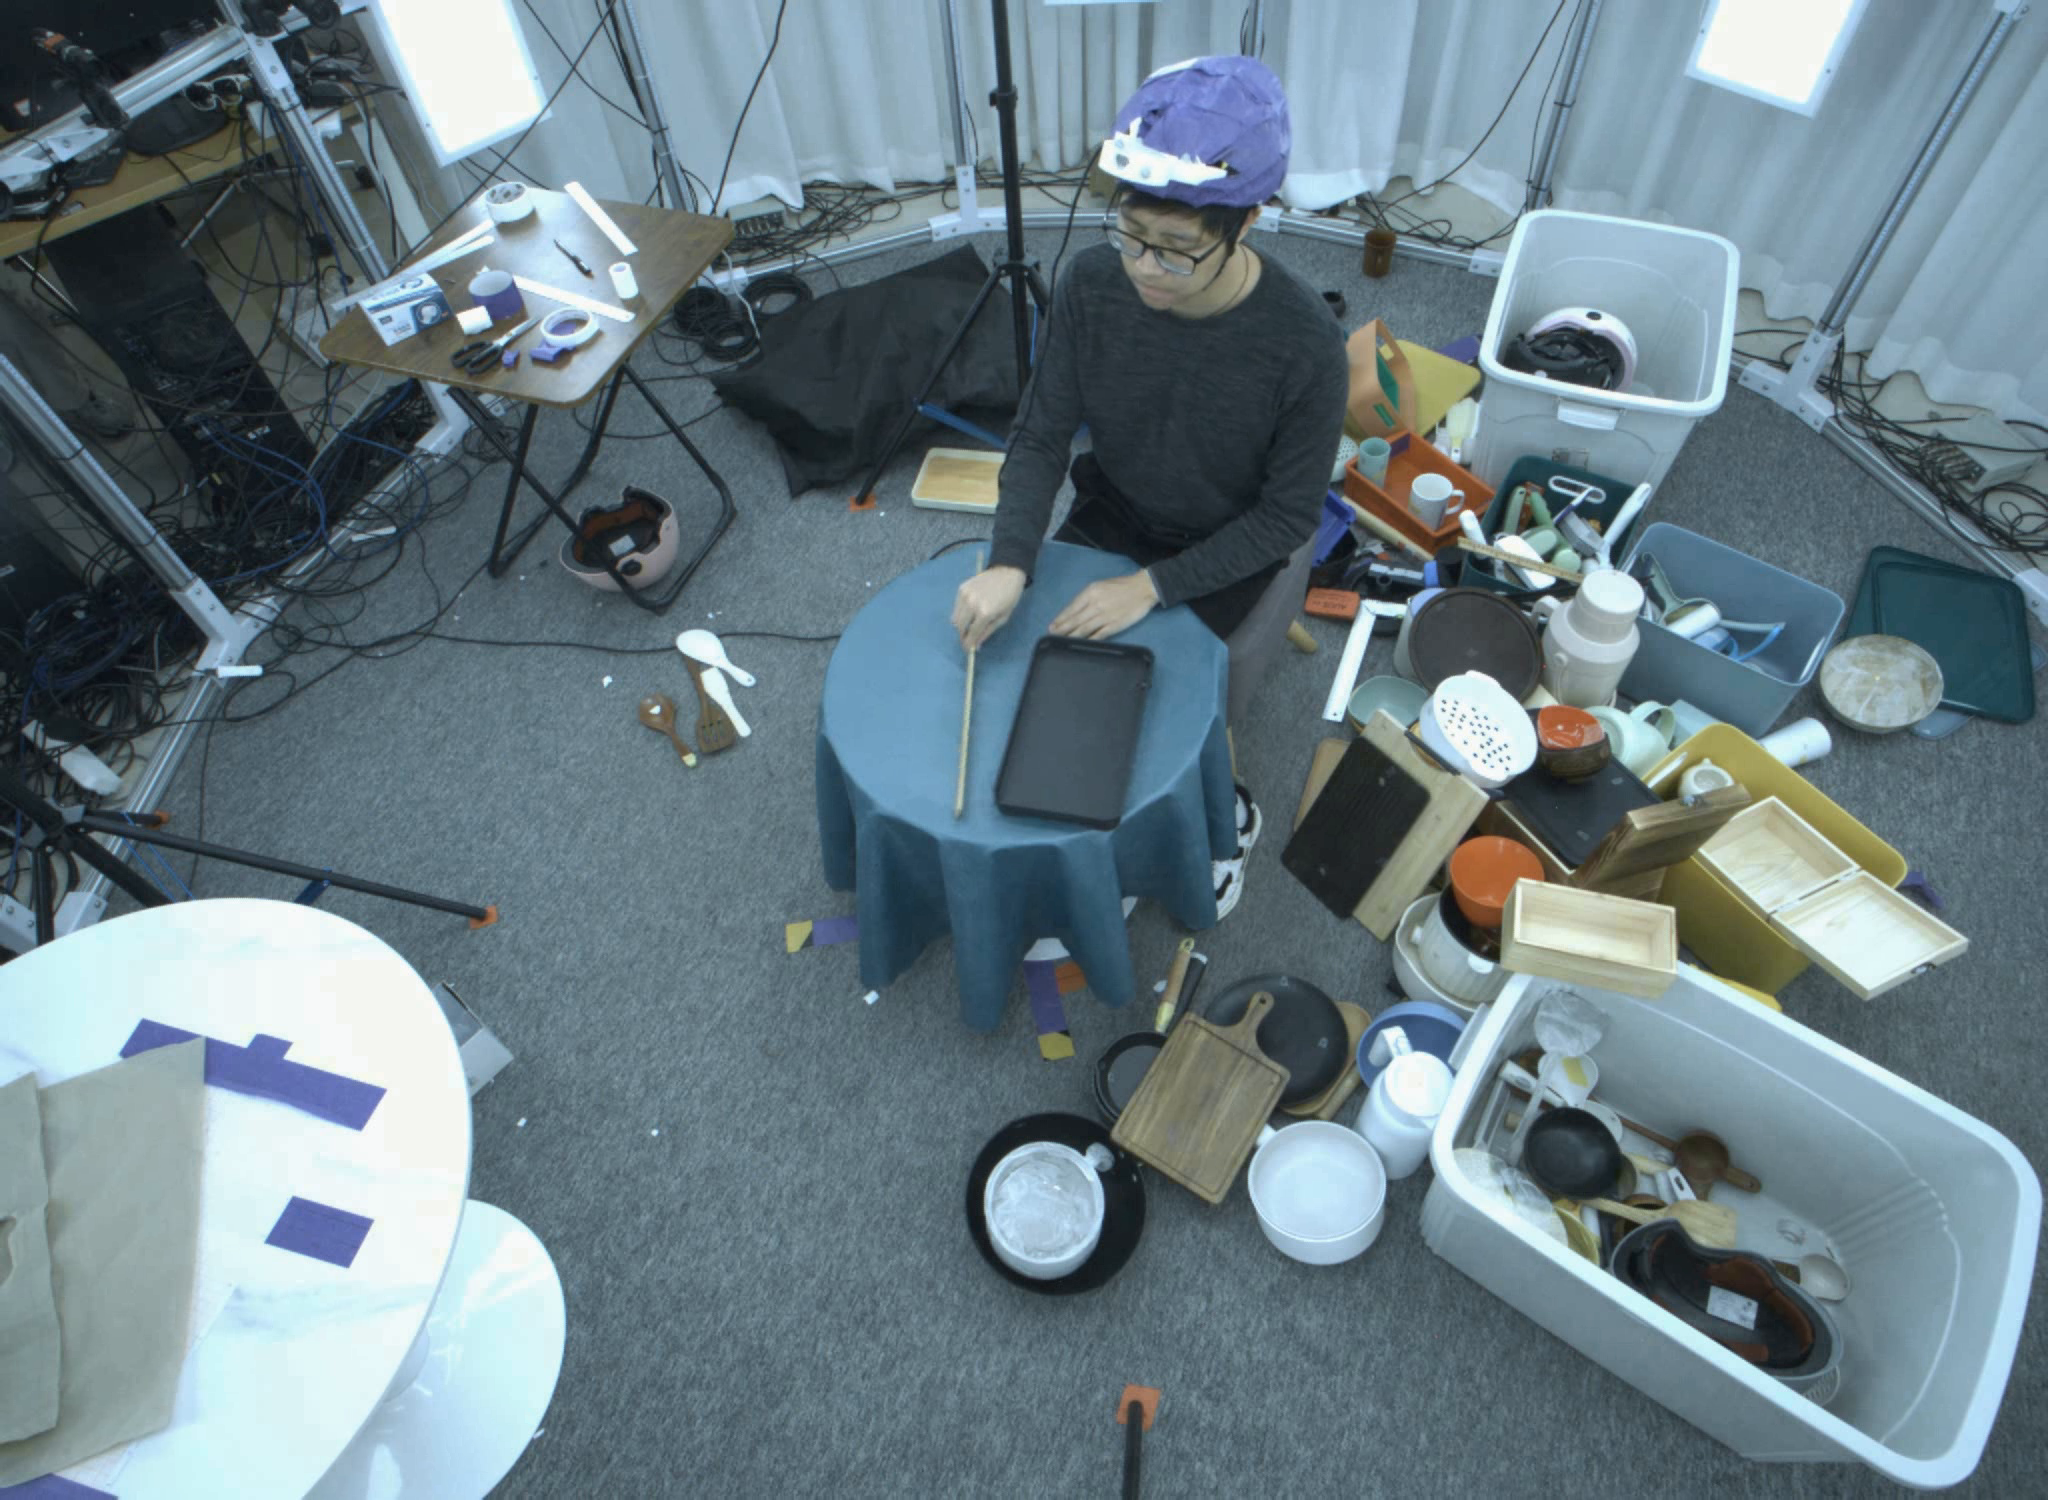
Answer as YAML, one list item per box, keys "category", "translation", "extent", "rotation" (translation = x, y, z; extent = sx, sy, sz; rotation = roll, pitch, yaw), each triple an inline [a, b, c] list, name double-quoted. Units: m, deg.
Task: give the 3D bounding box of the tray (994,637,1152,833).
- category: "tray"
  translation: [0.075, -0.028, 1.783]
  extent: [0.183, 0.037, 0.316]
  rotation: [8, 55, 7]

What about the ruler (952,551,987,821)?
- category: "ruler"
  translation: [-0.081, -0.113, 1.851]
  extent: [0.006, 0.027, 0.496]
  rotation: [11, 55, -10]
